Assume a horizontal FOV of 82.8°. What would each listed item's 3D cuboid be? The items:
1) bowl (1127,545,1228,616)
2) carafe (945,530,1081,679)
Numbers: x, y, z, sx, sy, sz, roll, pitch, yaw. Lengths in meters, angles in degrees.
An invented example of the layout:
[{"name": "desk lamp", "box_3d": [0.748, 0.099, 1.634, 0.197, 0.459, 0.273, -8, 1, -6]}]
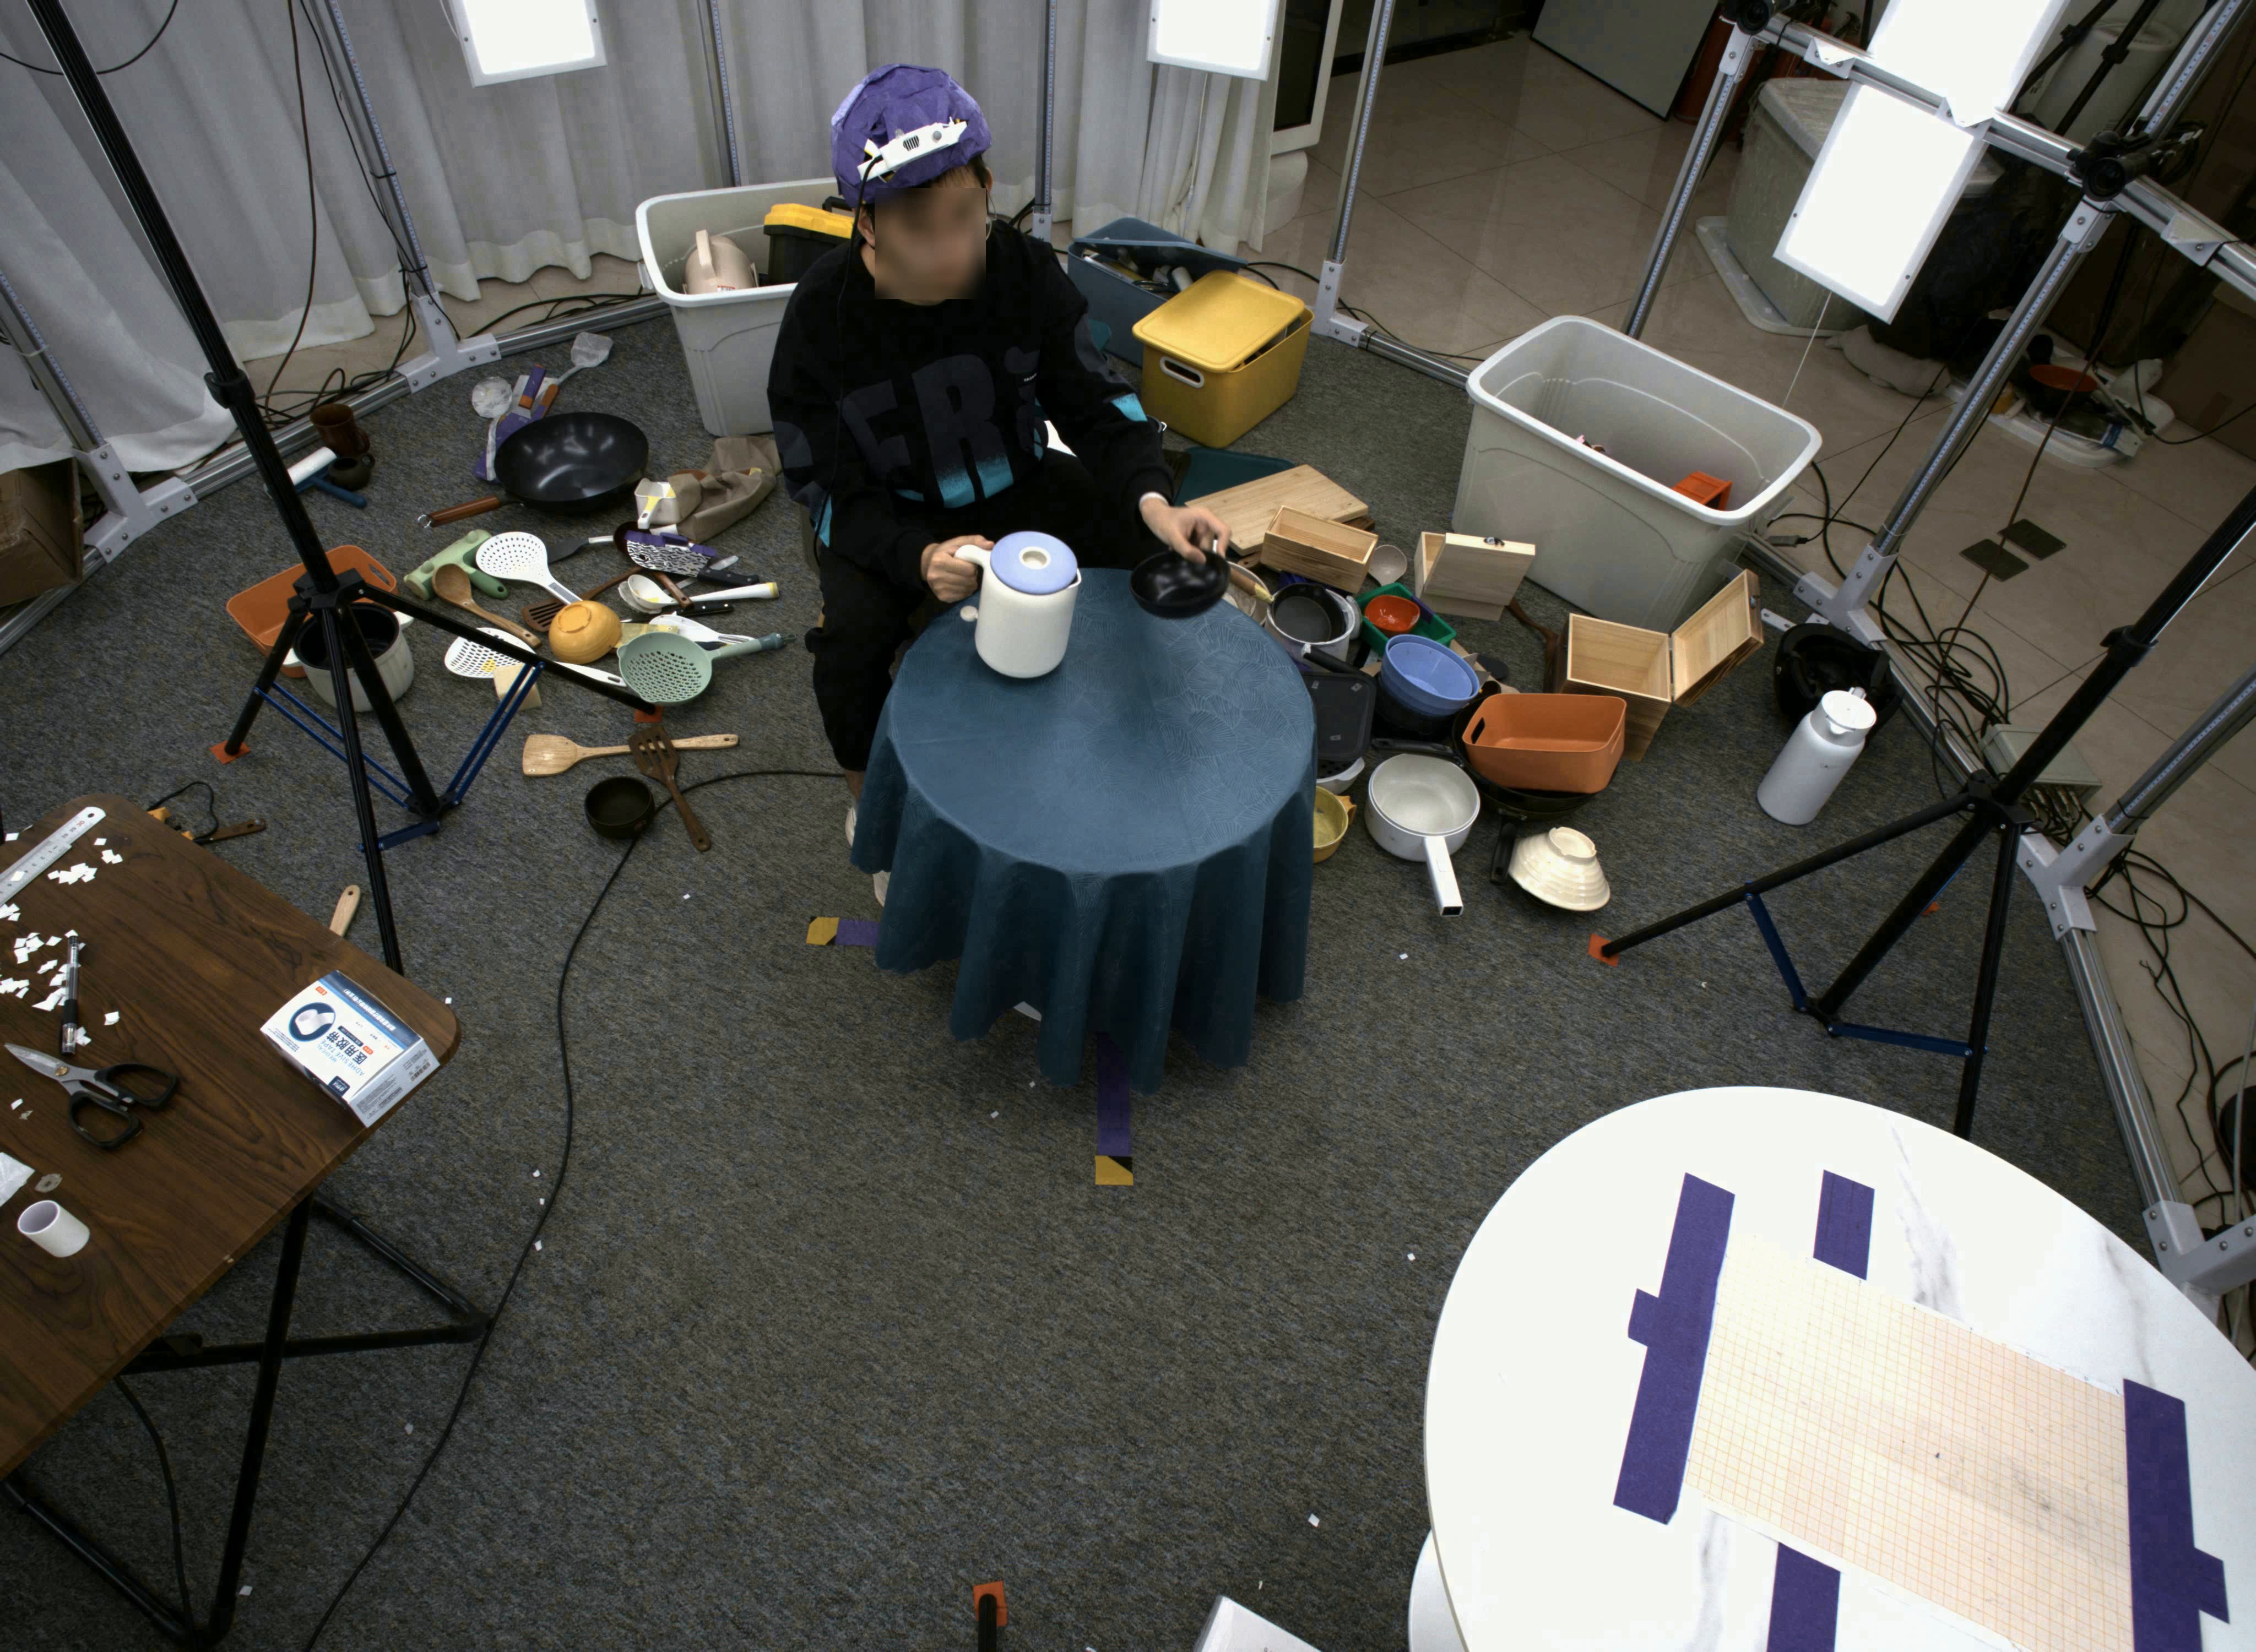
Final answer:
[{"name": "bowl", "box_3d": [0.071, -0.323, 1.738, 0.140, 0.048, 0.143, -11, 37, 8]}, {"name": "carafe", "box_3d": [-0.163, -0.316, 1.792, 0.191, 0.178, 0.135, 19, 51, 6]}]
